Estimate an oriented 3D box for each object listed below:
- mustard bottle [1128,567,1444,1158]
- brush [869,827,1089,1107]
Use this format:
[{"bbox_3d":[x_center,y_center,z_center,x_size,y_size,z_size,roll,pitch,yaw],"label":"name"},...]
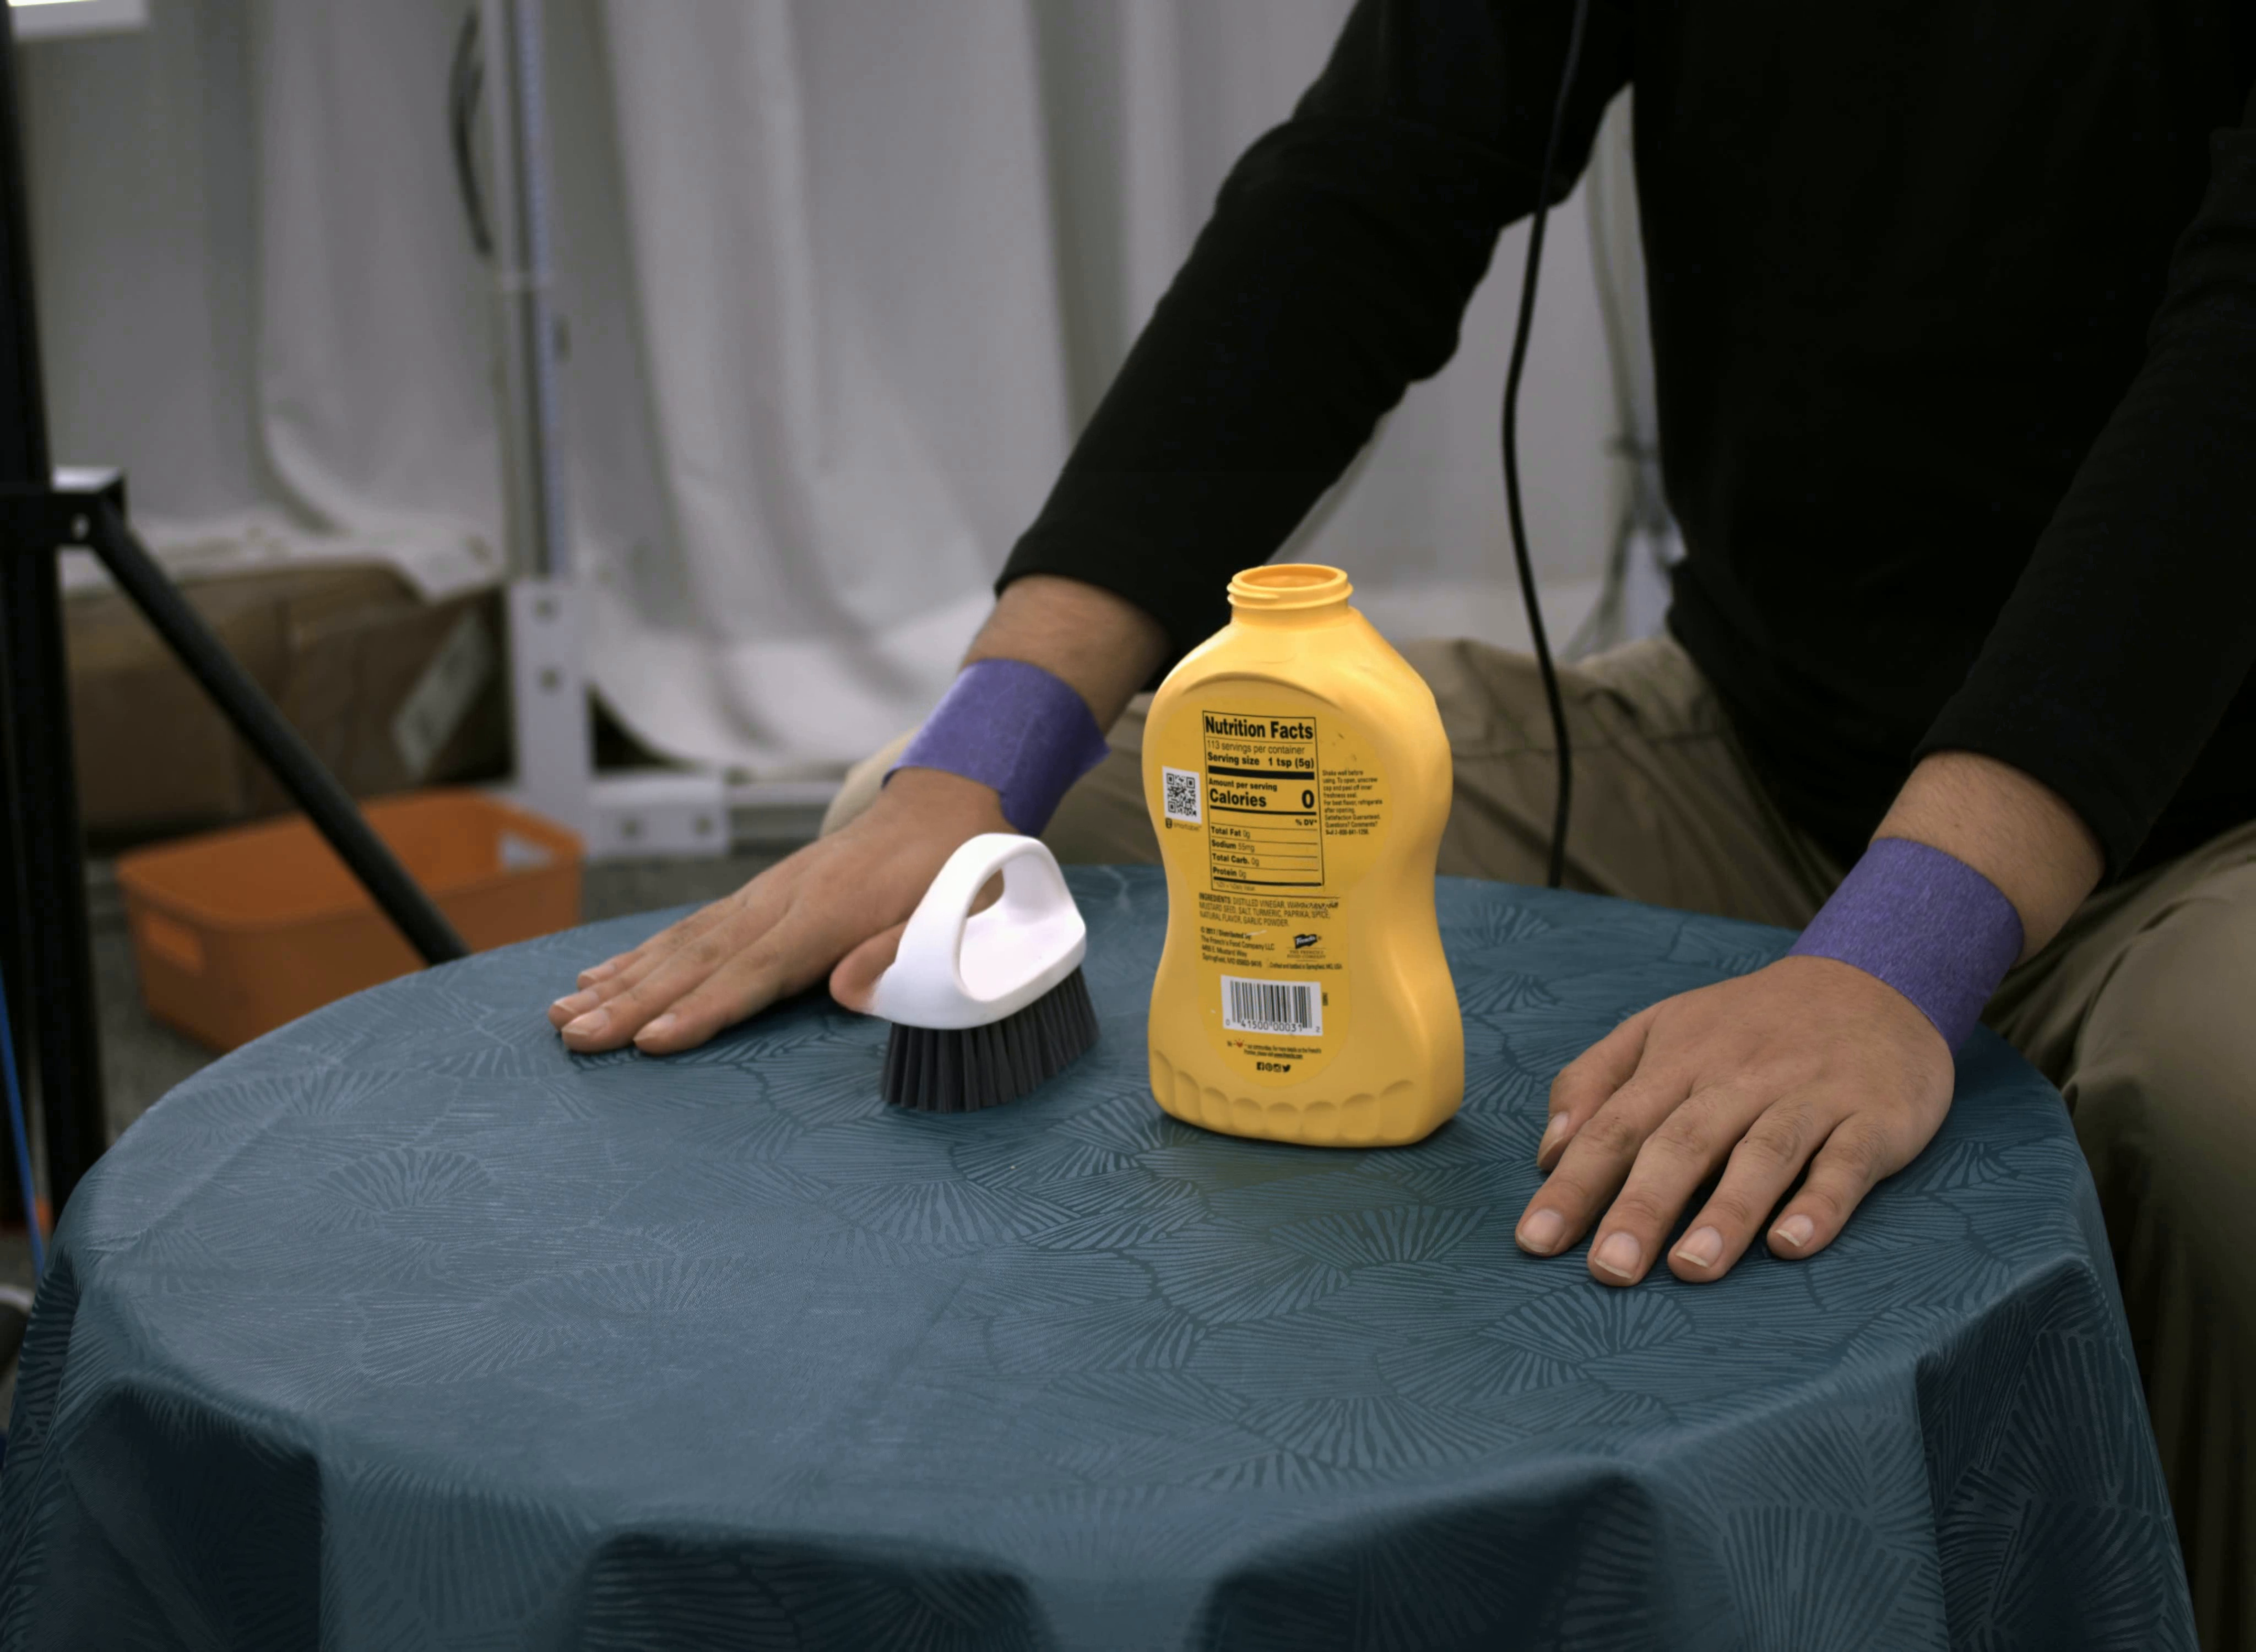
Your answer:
[{"bbox_3d":[0.047,0.009,1.594,0.099,0.172,0.058,4,12,24],"label":"mustard bottle"},{"bbox_3d":[-0.047,0.039,1.674,0.051,0.072,0.098,6,19,24],"label":"brush"}]
